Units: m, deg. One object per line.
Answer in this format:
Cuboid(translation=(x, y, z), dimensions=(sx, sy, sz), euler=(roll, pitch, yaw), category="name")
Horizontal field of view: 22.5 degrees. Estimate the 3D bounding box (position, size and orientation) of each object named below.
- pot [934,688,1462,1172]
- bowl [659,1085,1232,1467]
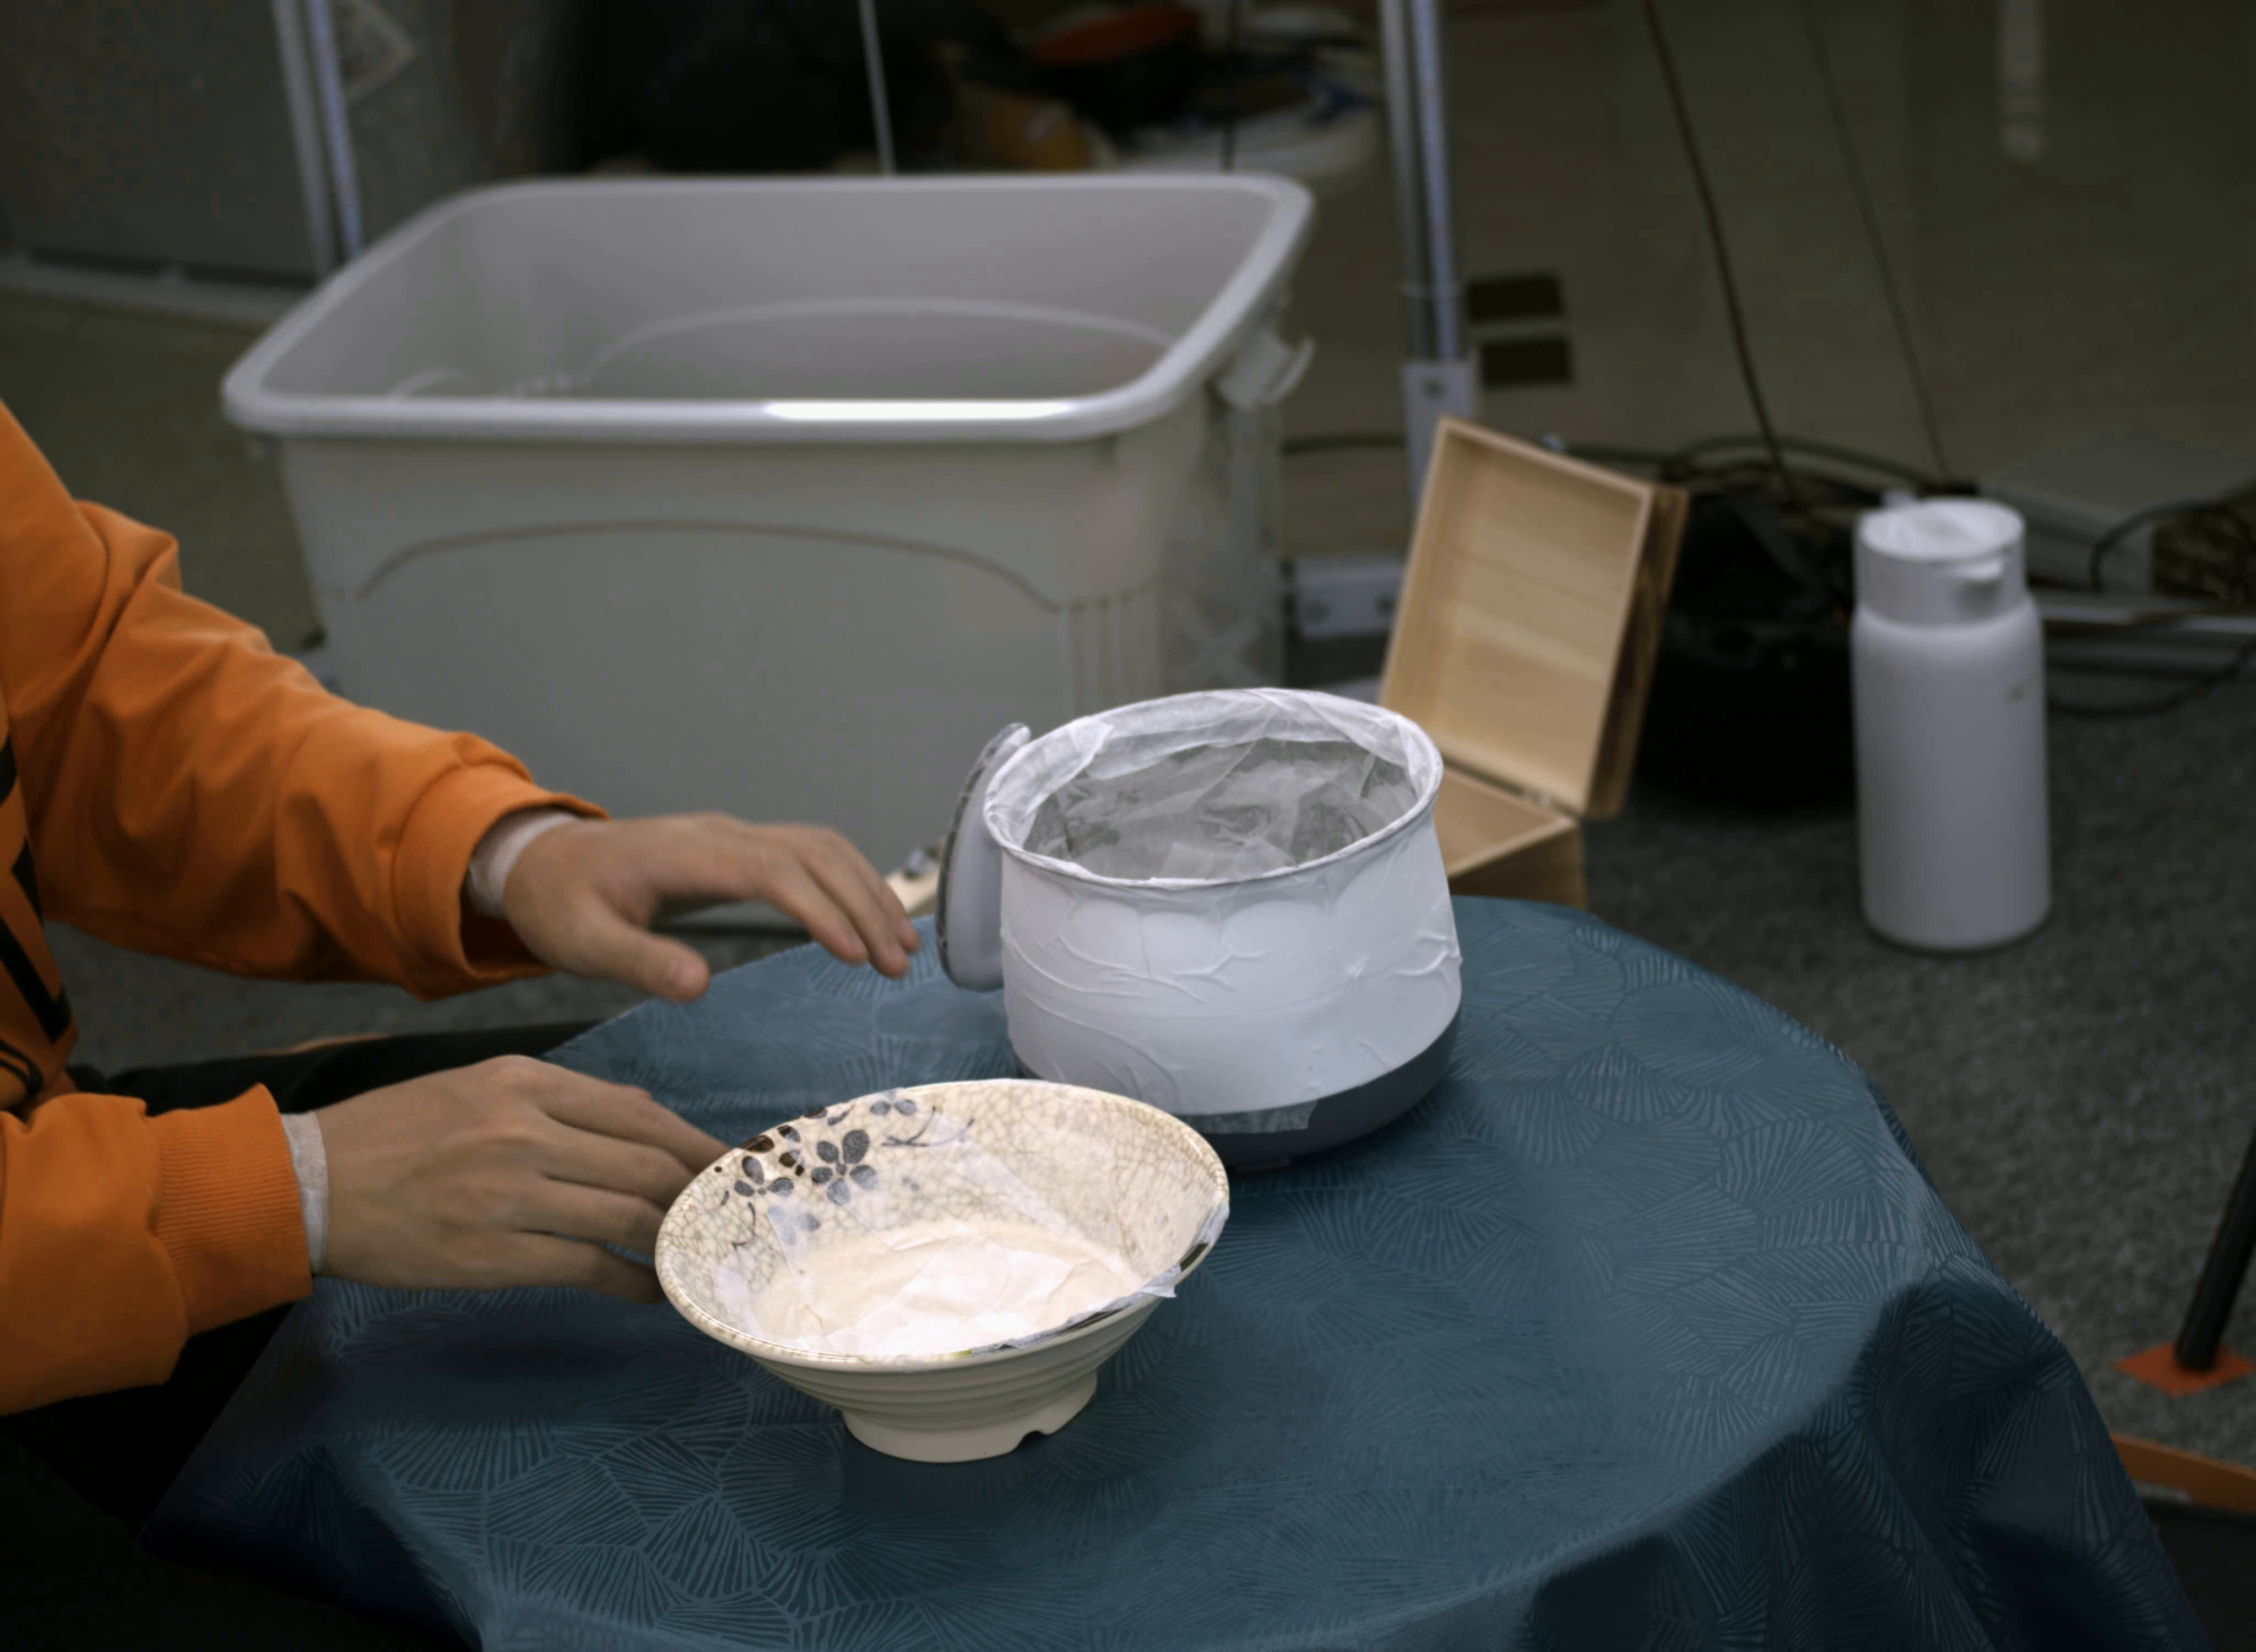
Cuboid(translation=(0.016, 0.036, 2.199), dimensions=(0.232, 0.139, 0.177), euler=(14, 32, 36), category="pot")
Cuboid(translation=(-0.059, 0.171, 2.004), dimensions=(0.204, 0.079, 0.201), euler=(-8, 25, 4), category="bowl")
